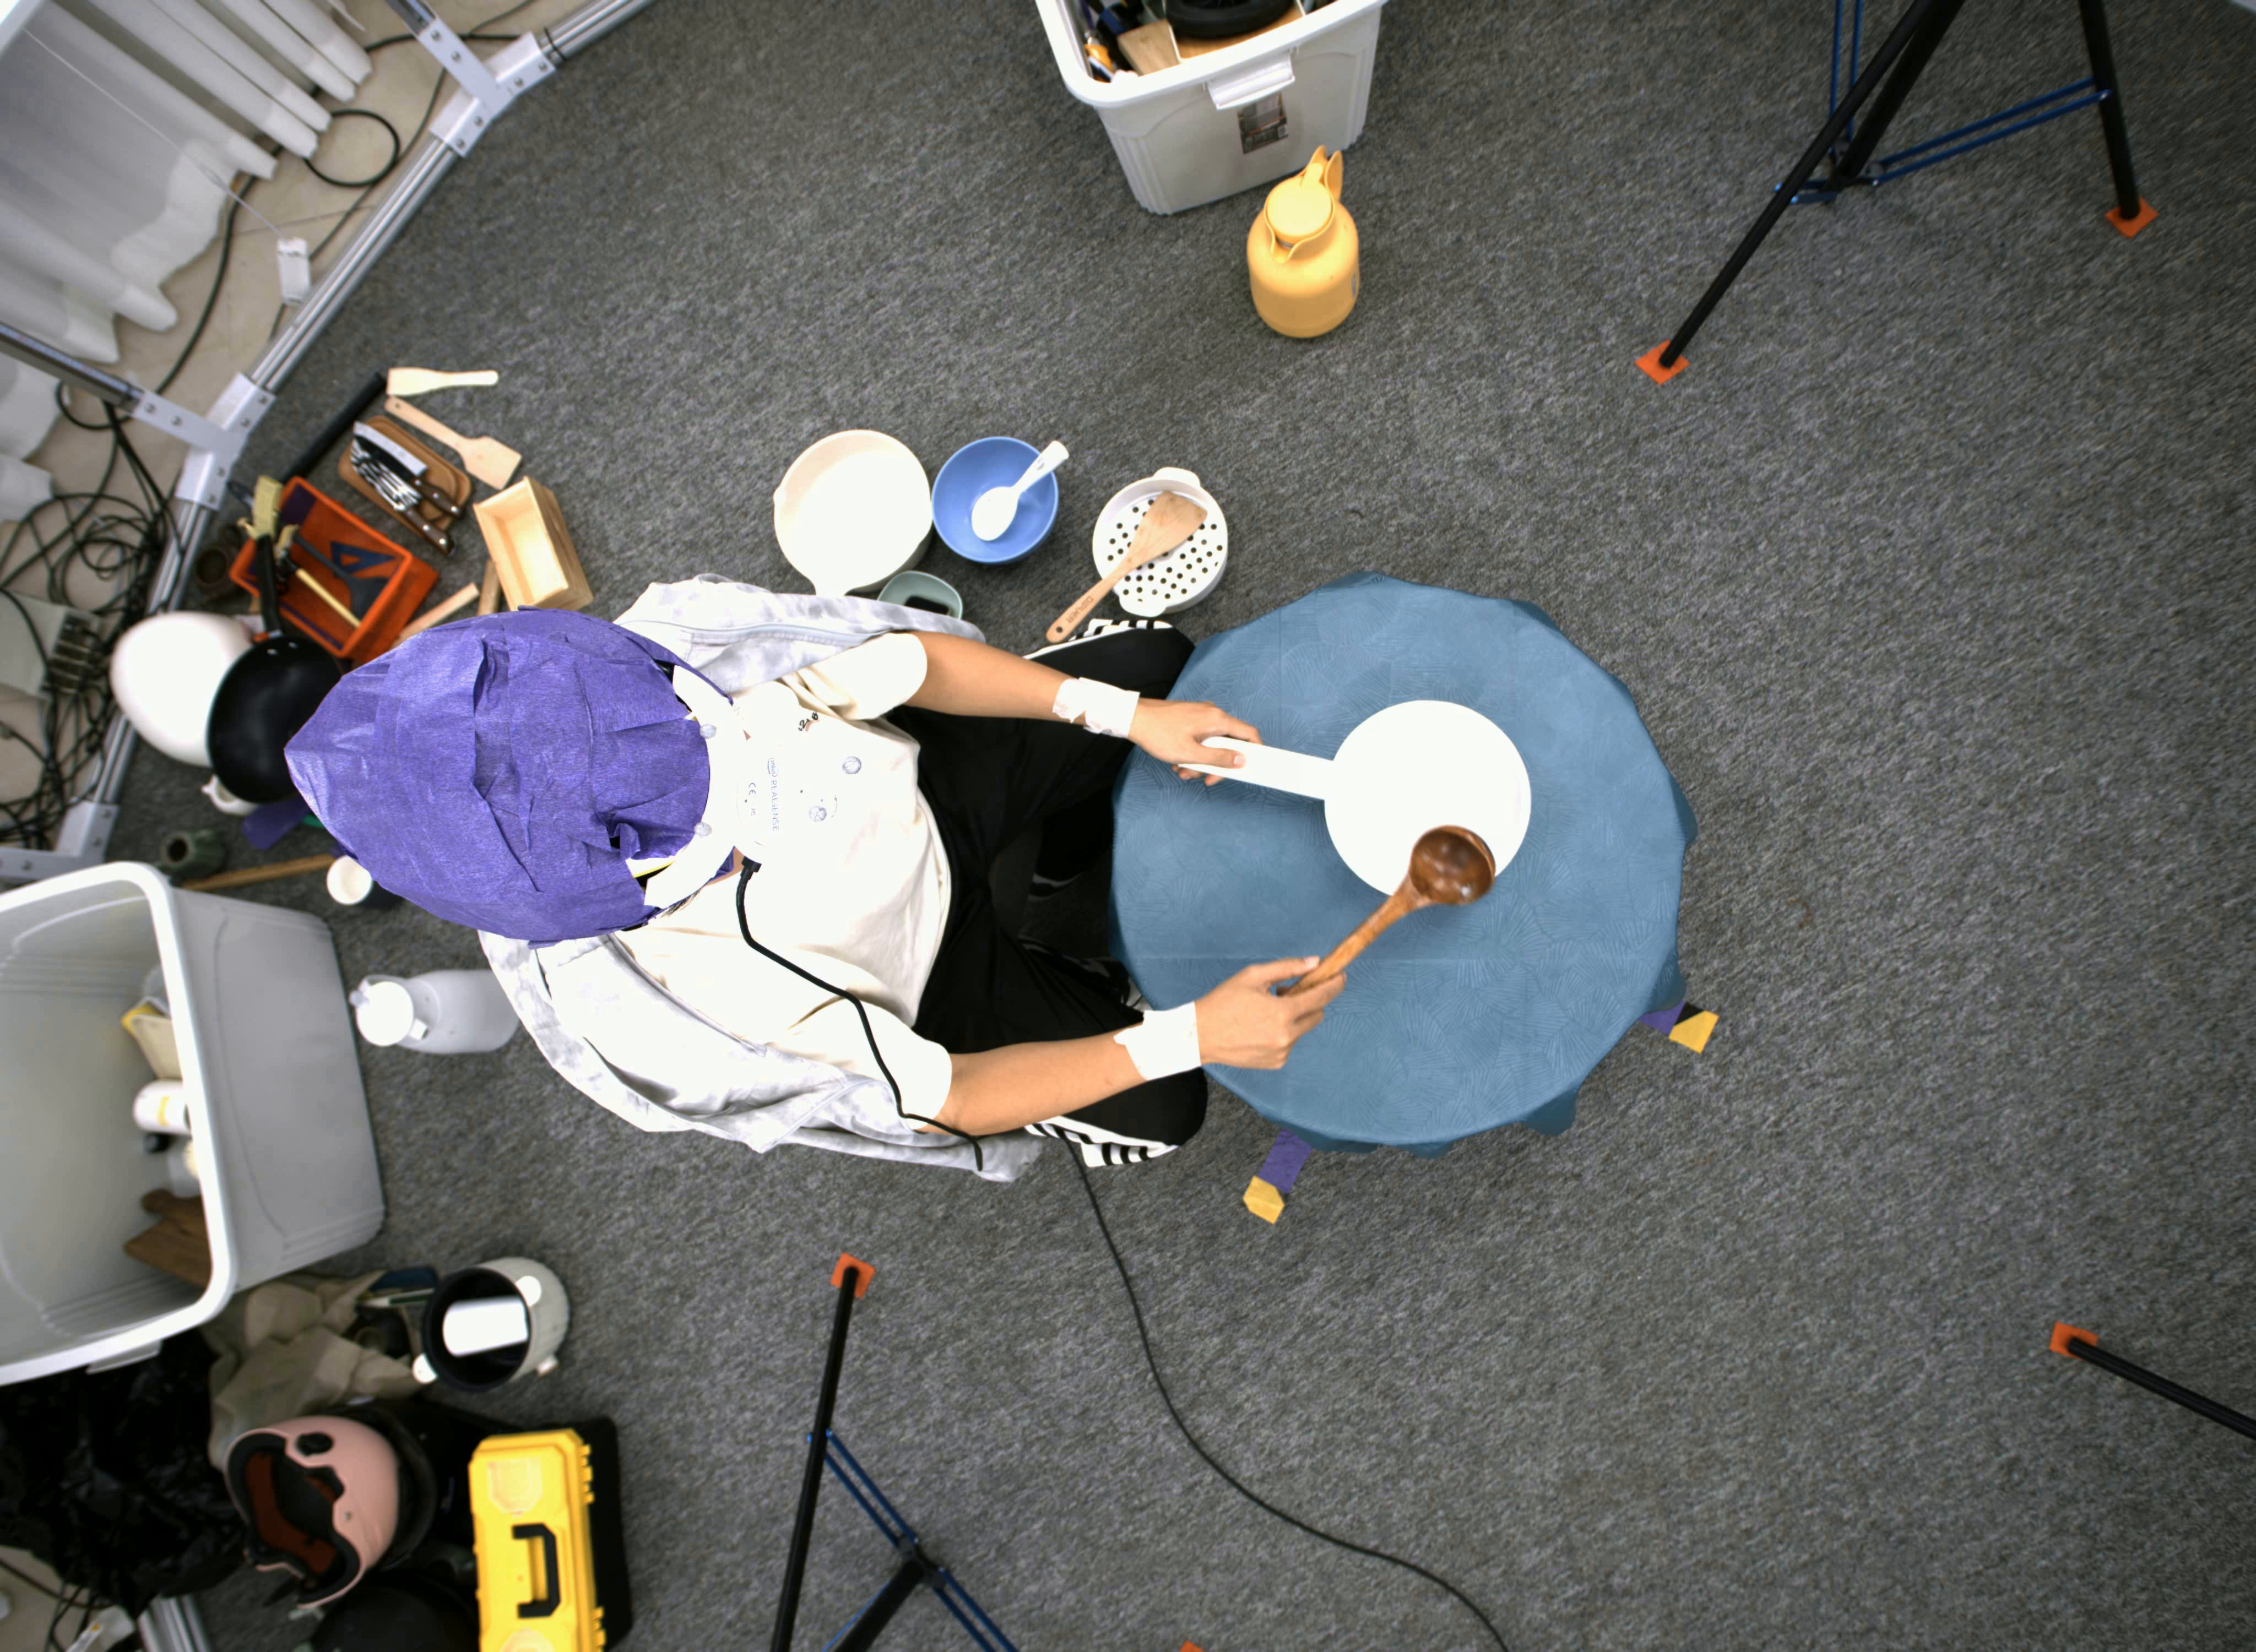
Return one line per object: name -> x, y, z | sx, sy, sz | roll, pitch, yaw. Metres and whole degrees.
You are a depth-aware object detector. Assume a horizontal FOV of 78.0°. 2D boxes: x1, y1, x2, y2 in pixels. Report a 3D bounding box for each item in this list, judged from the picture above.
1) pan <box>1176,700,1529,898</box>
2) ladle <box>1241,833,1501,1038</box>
pan -> 0.228, -0.041, 1.421 | 0.355, 0.102, 0.201 | 14, 89, 12
ladle -> 0.221, 0.106, 1.262 | 0.273, 0.077, 0.081 | -37, 85, -3
